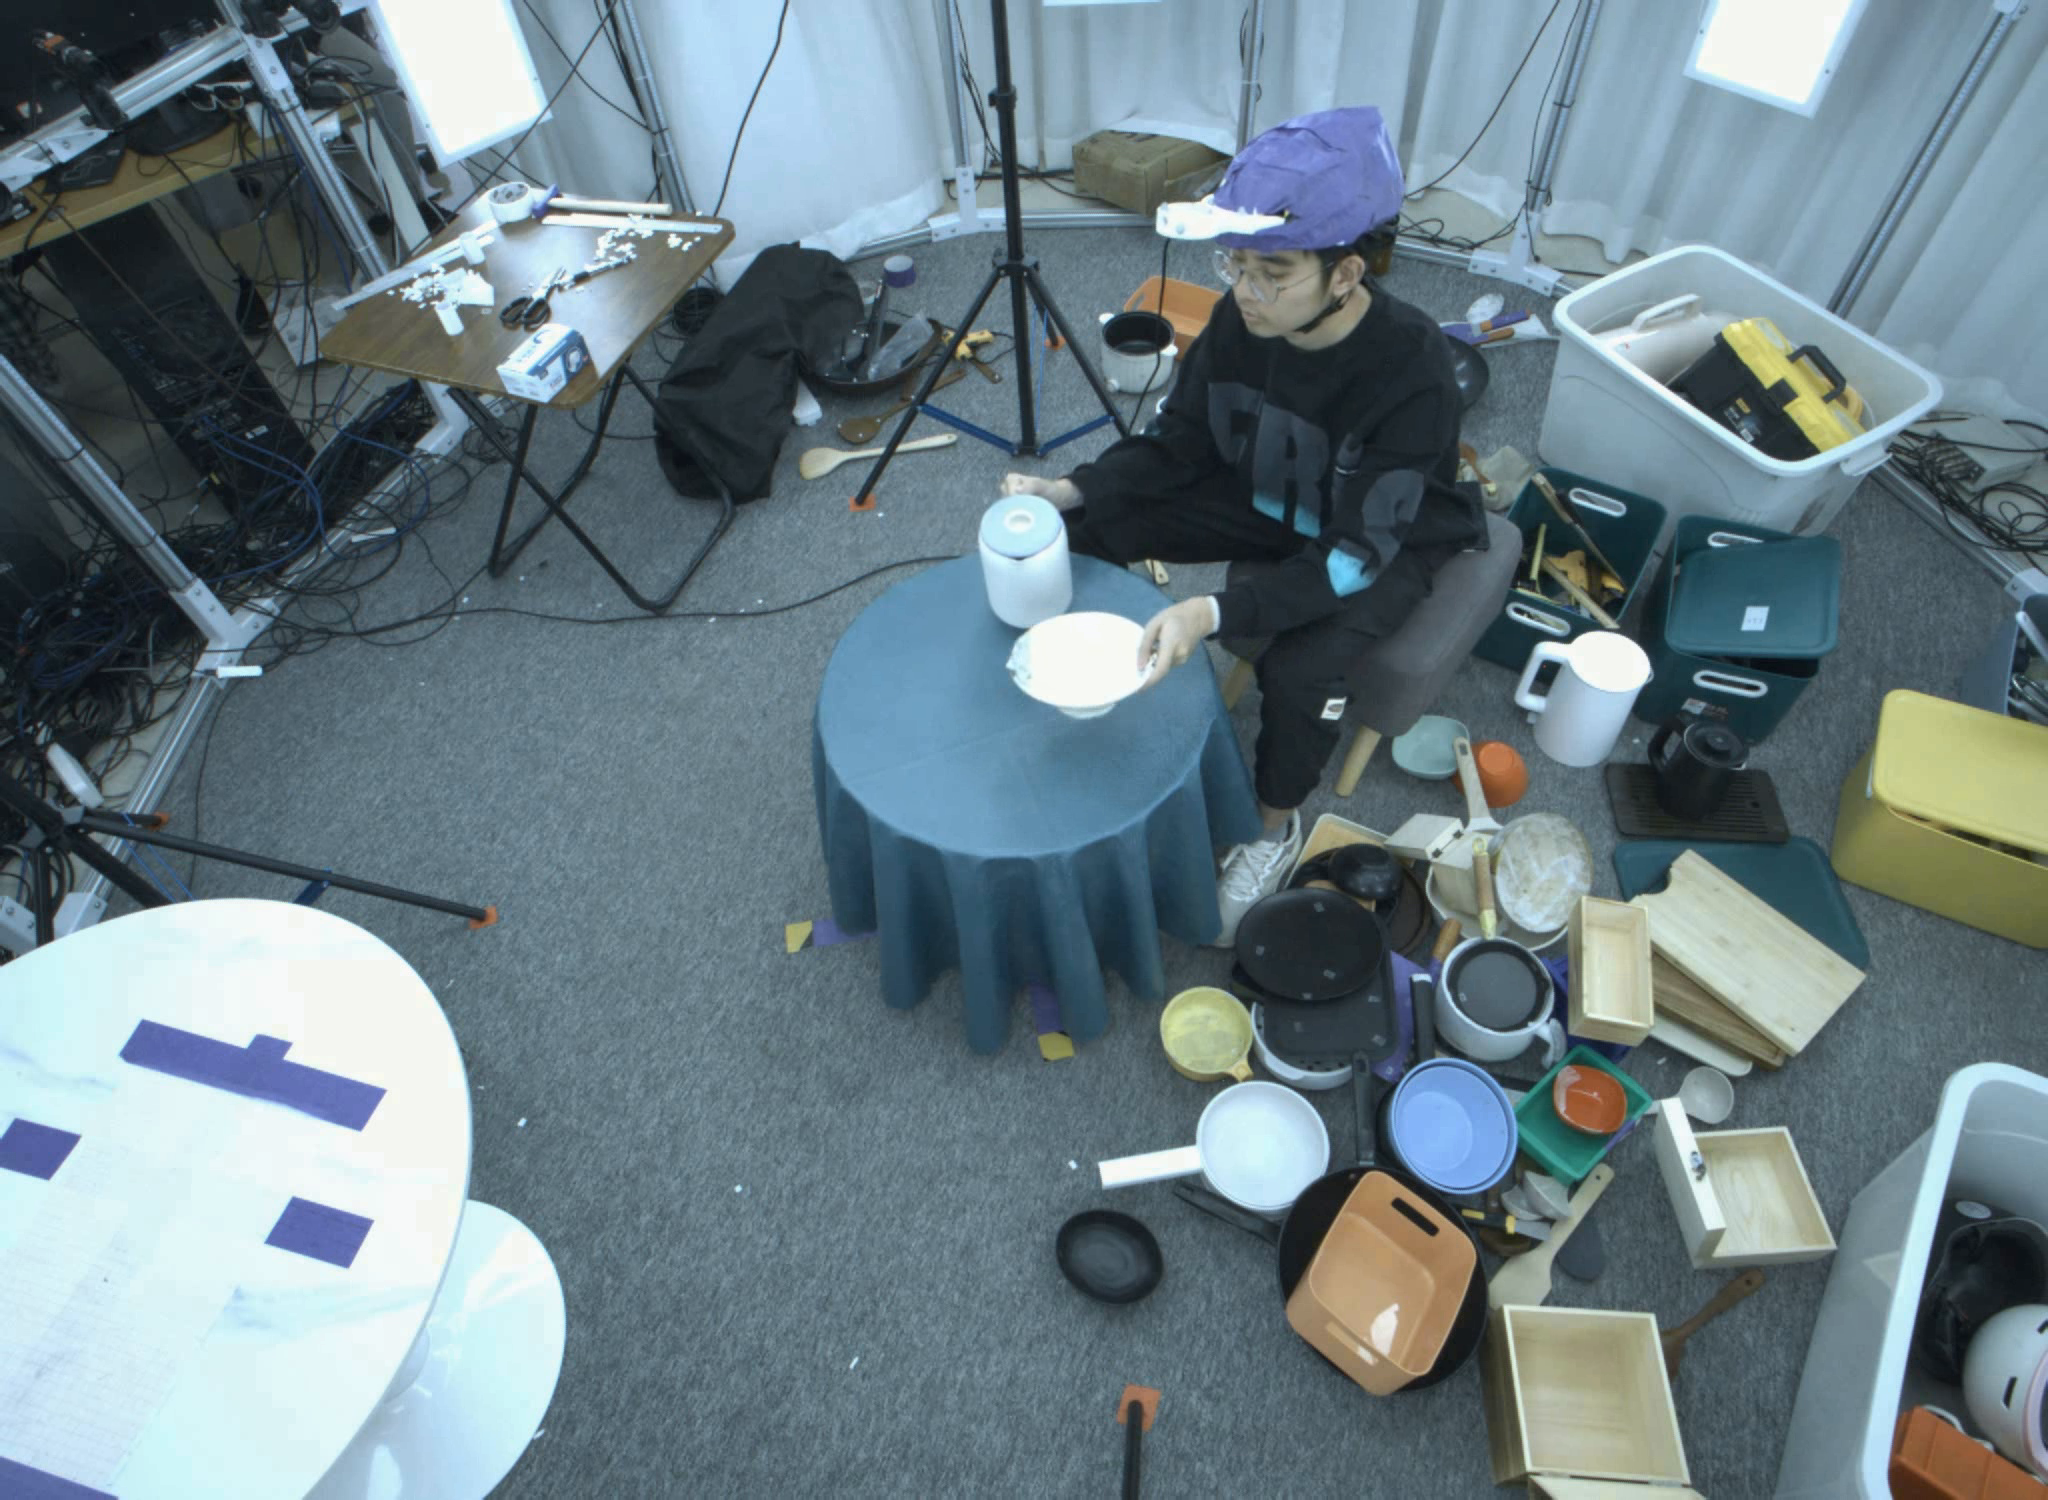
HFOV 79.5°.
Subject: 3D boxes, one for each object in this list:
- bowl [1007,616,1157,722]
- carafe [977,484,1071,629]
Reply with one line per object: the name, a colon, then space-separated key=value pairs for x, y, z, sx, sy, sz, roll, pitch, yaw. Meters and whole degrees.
bowl: x=0.080 y=-0.095 z=1.700 sx=0.204 sy=0.079 sz=0.202 roll=0 pitch=43 yaw=1
carafe: x=0.000 y=-0.301 z=1.843 sx=0.132 sy=0.184 sz=0.189 roll=-3 pitch=56 yaw=3
